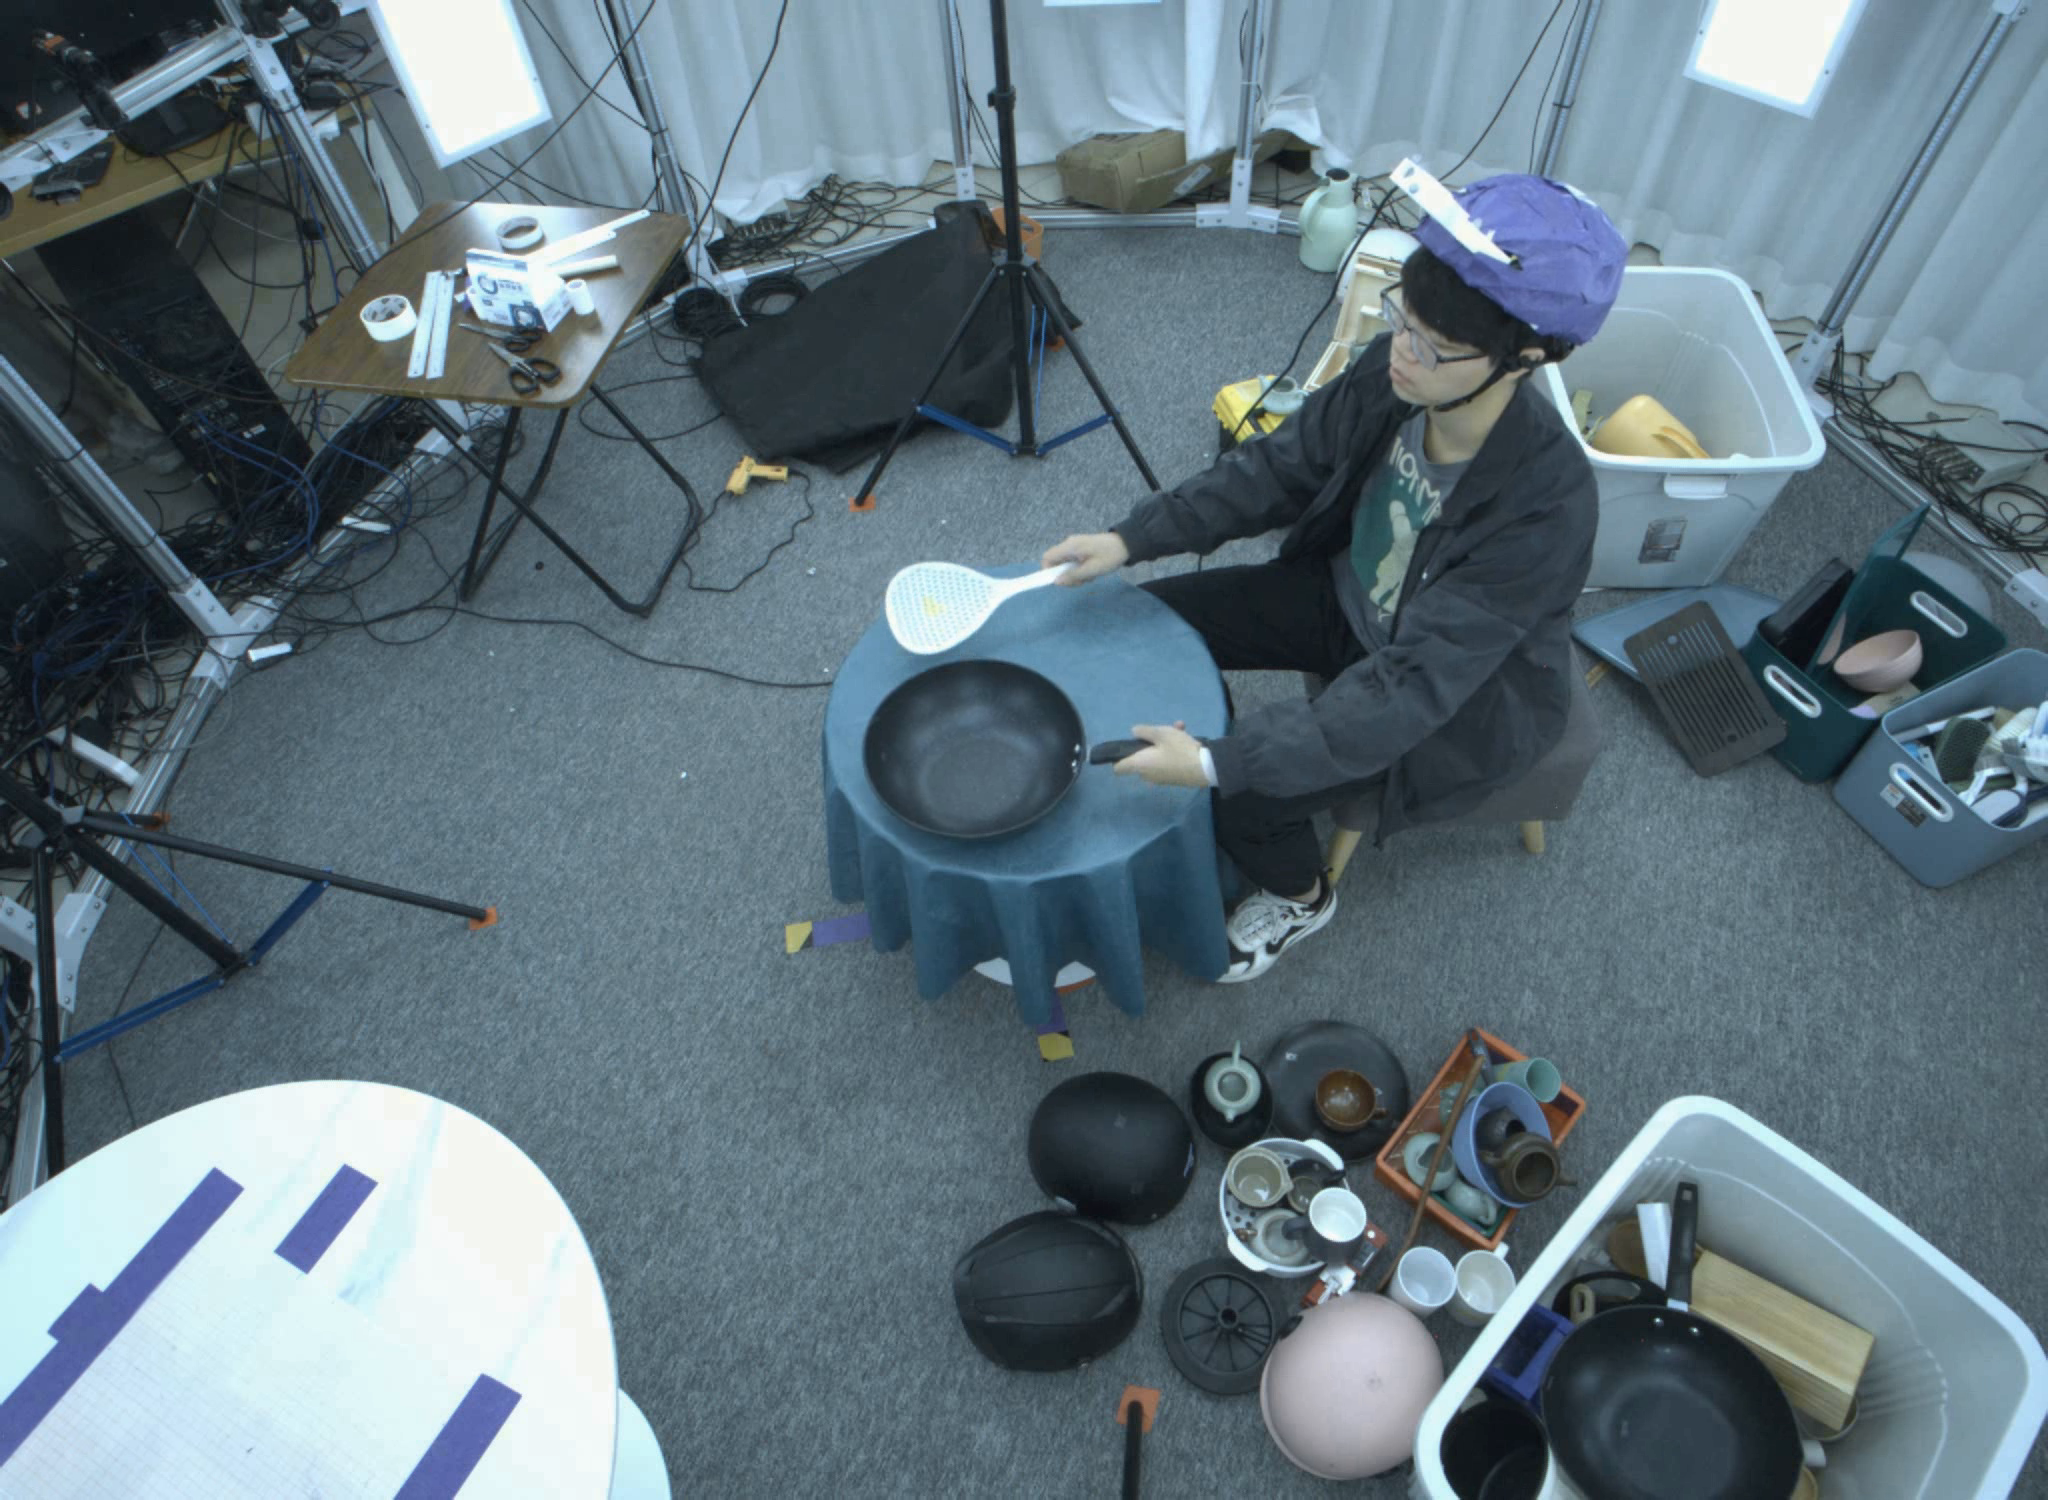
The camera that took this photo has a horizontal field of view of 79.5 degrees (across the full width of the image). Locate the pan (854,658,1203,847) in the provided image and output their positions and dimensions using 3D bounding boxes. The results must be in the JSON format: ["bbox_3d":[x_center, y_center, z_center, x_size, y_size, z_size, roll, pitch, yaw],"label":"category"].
[{"bbox_3d":[0.006,0.014,1.704,0.476,0.113,0.308,3,56,4],"label":"pan"}]

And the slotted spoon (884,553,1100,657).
[{"bbox_3d":[-0.042,-0.242,1.866,0.350,0.050,0.137,-17,100,-9],"label":"slotted spoon"}]
